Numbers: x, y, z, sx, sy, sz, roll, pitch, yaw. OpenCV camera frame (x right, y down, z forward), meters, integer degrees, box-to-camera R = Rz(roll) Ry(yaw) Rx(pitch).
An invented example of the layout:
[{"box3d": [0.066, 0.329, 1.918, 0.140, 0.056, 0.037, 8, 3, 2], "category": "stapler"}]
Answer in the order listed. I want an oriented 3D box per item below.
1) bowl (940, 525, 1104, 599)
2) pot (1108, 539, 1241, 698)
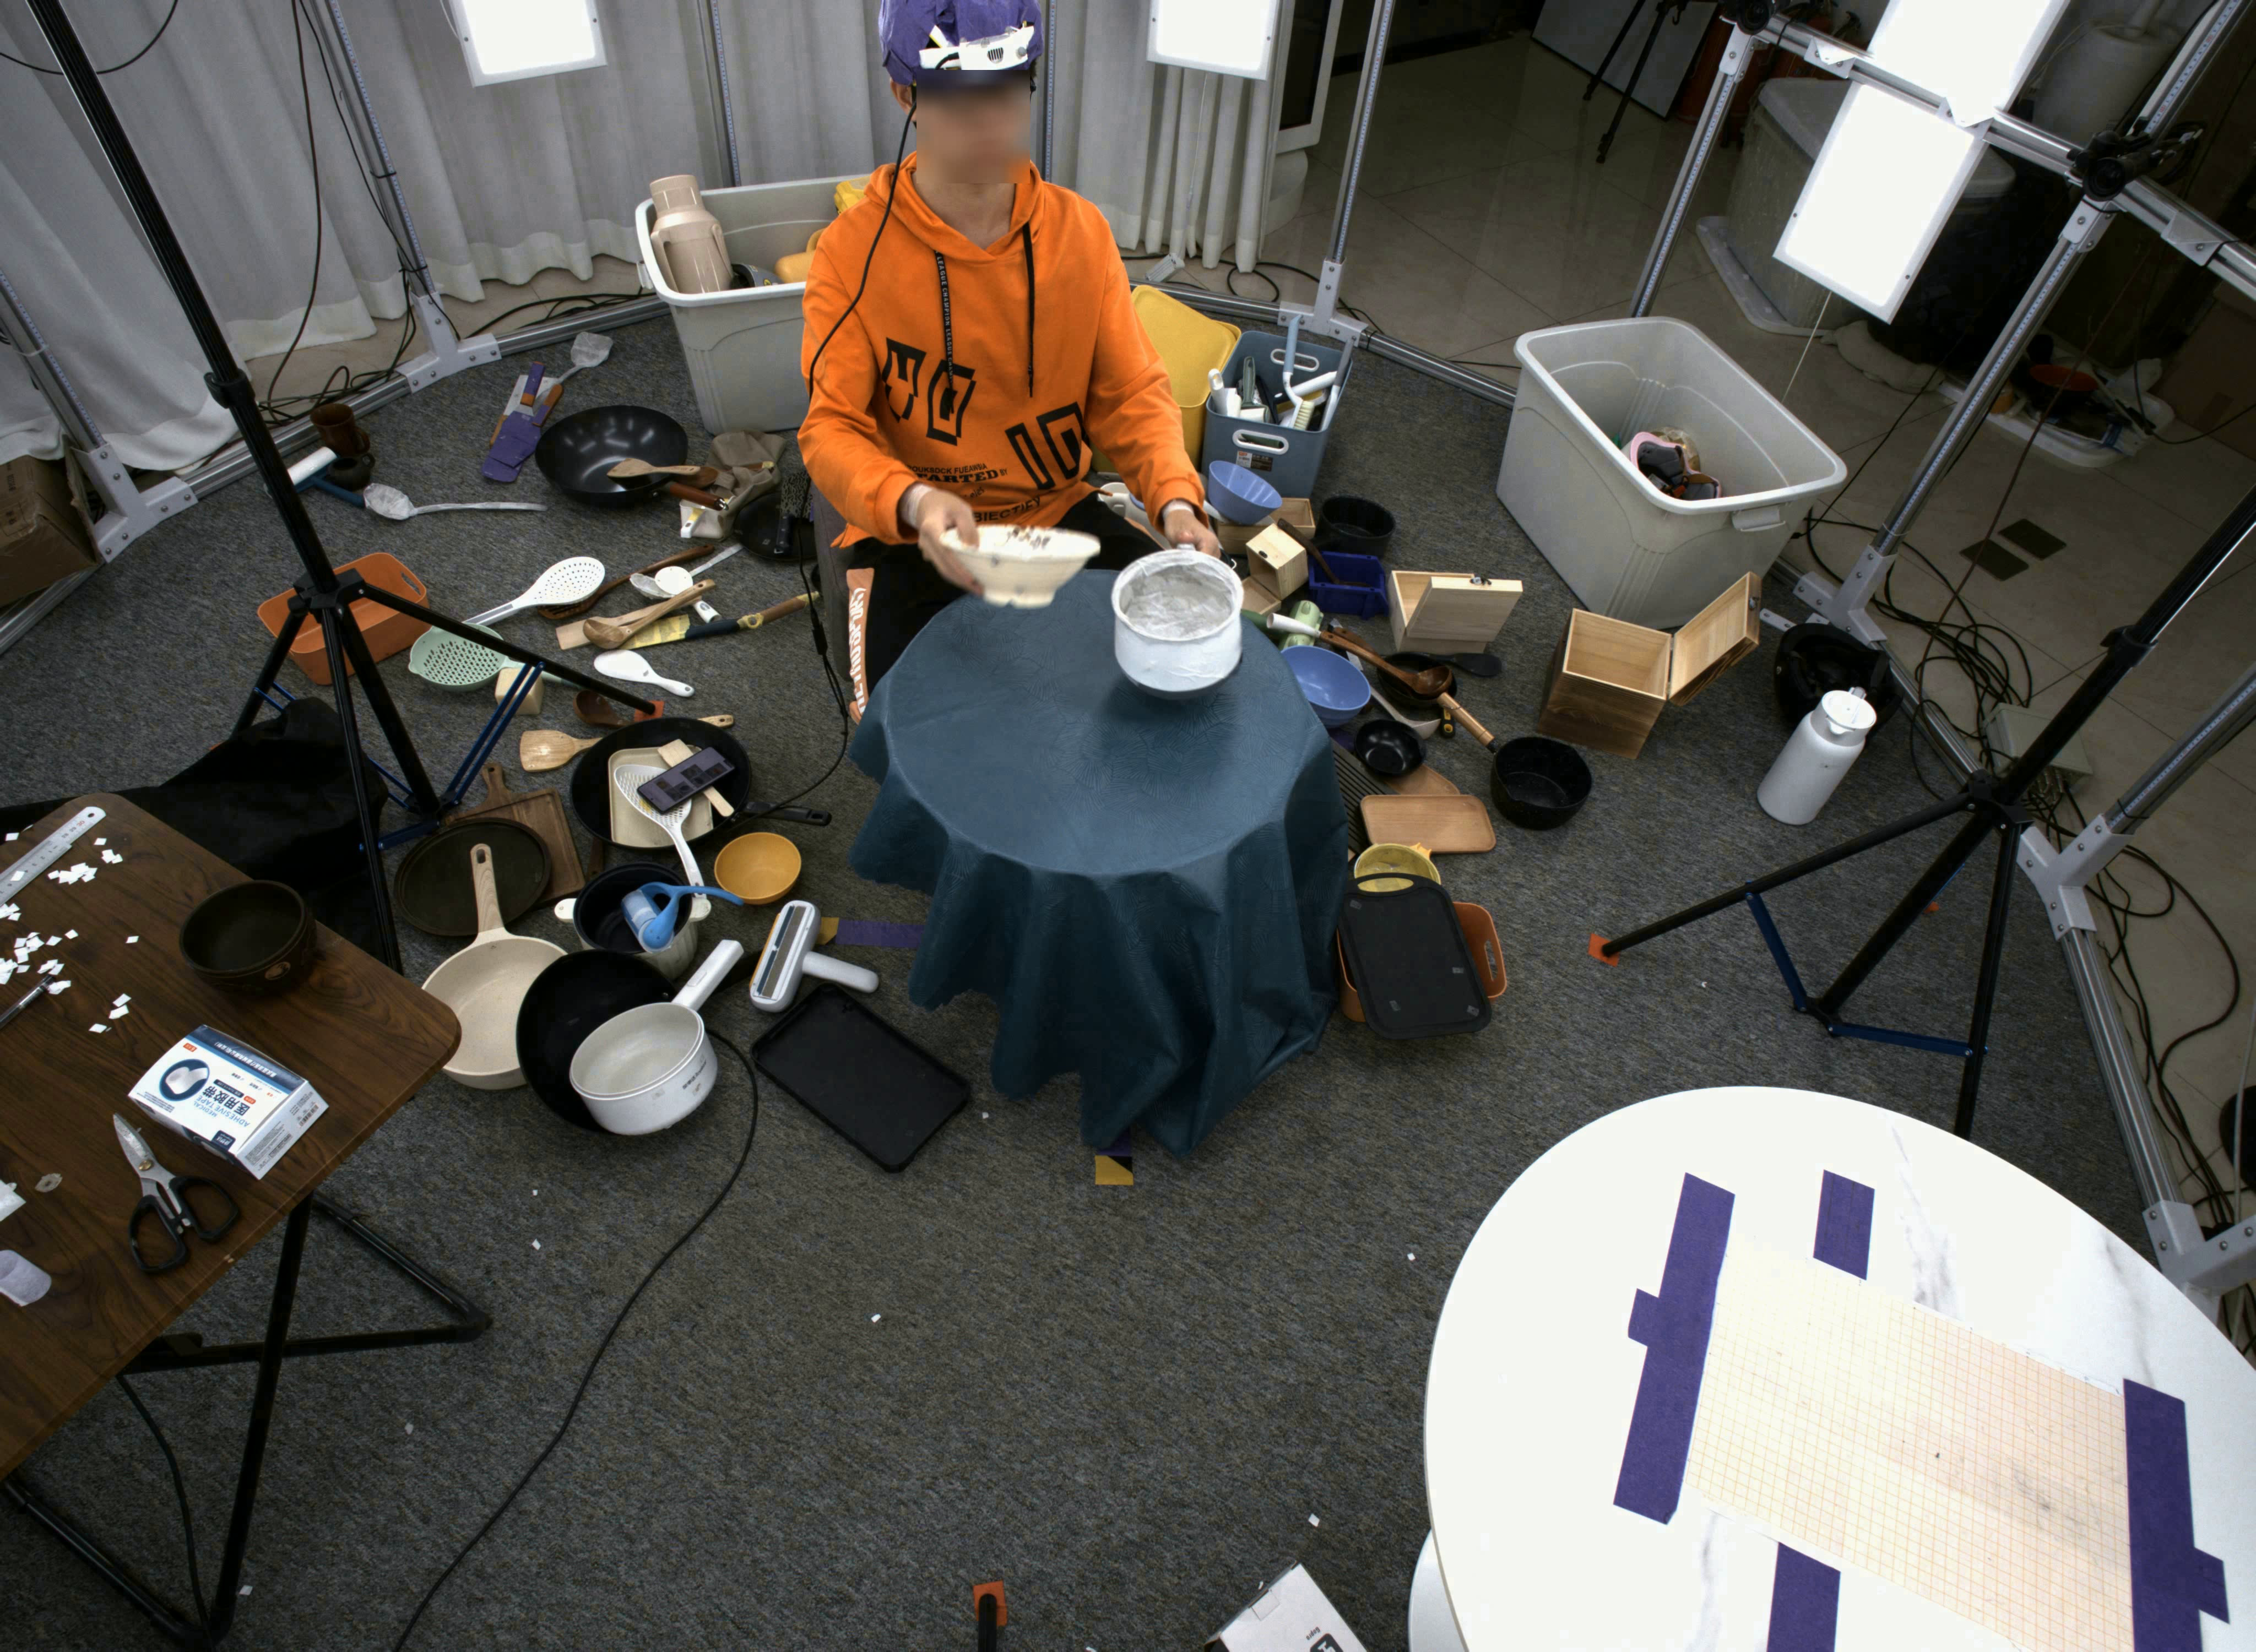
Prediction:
[{"box3d": [-0.132, -0.330, 1.616, 0.204, 0.077, 0.207, 1, 17, -1], "category": "bowl"}, {"box3d": [0.068, -0.297, 1.782, 0.179, 0.133, 0.239, 4, 52, 6], "category": "pot"}]
